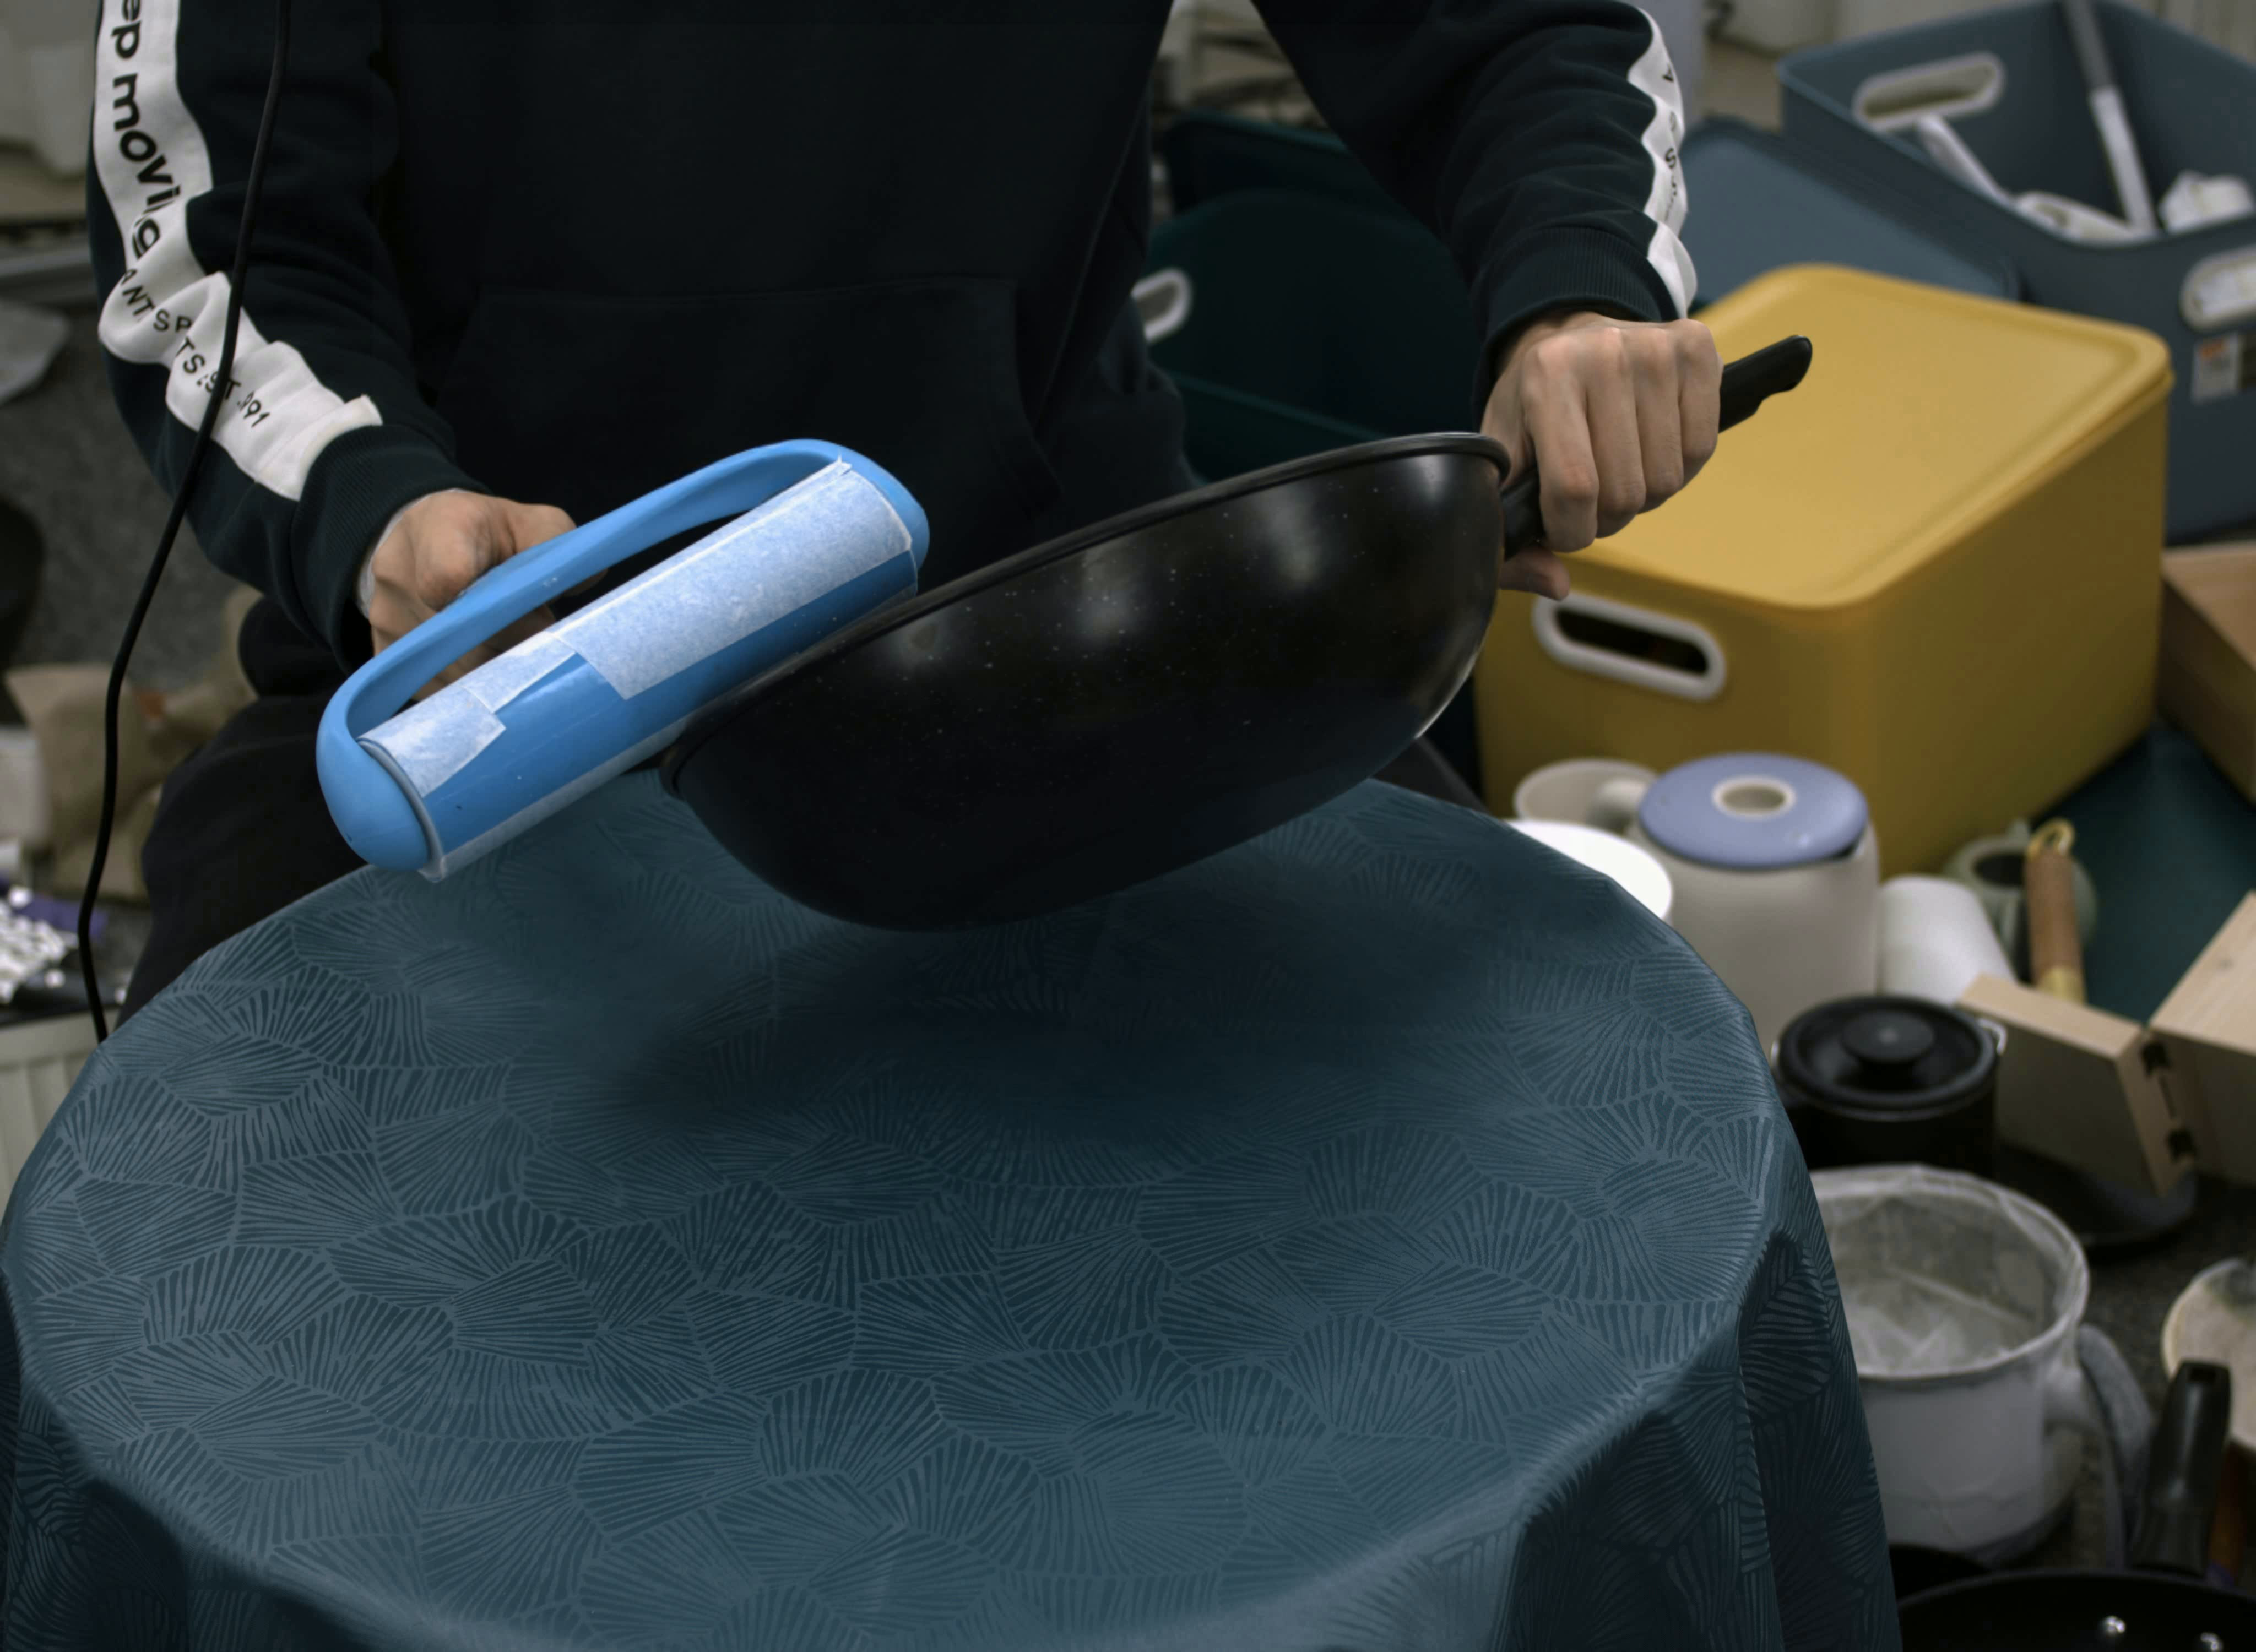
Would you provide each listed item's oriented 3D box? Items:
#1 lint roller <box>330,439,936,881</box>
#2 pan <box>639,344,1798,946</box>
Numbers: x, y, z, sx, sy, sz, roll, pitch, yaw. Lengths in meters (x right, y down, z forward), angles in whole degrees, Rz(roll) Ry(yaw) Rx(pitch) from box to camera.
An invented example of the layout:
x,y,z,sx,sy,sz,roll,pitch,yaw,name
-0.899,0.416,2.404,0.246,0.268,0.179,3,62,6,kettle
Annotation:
x,y,z,sx,sy,sz,roll,pitch,yaw,name
-0.191,-0.060,1.891,0.231,0.067,0.179,-35,25,-27,lint roller
0.060,-0.061,1.941,0.480,0.112,0.306,-17,-8,-30,pan
